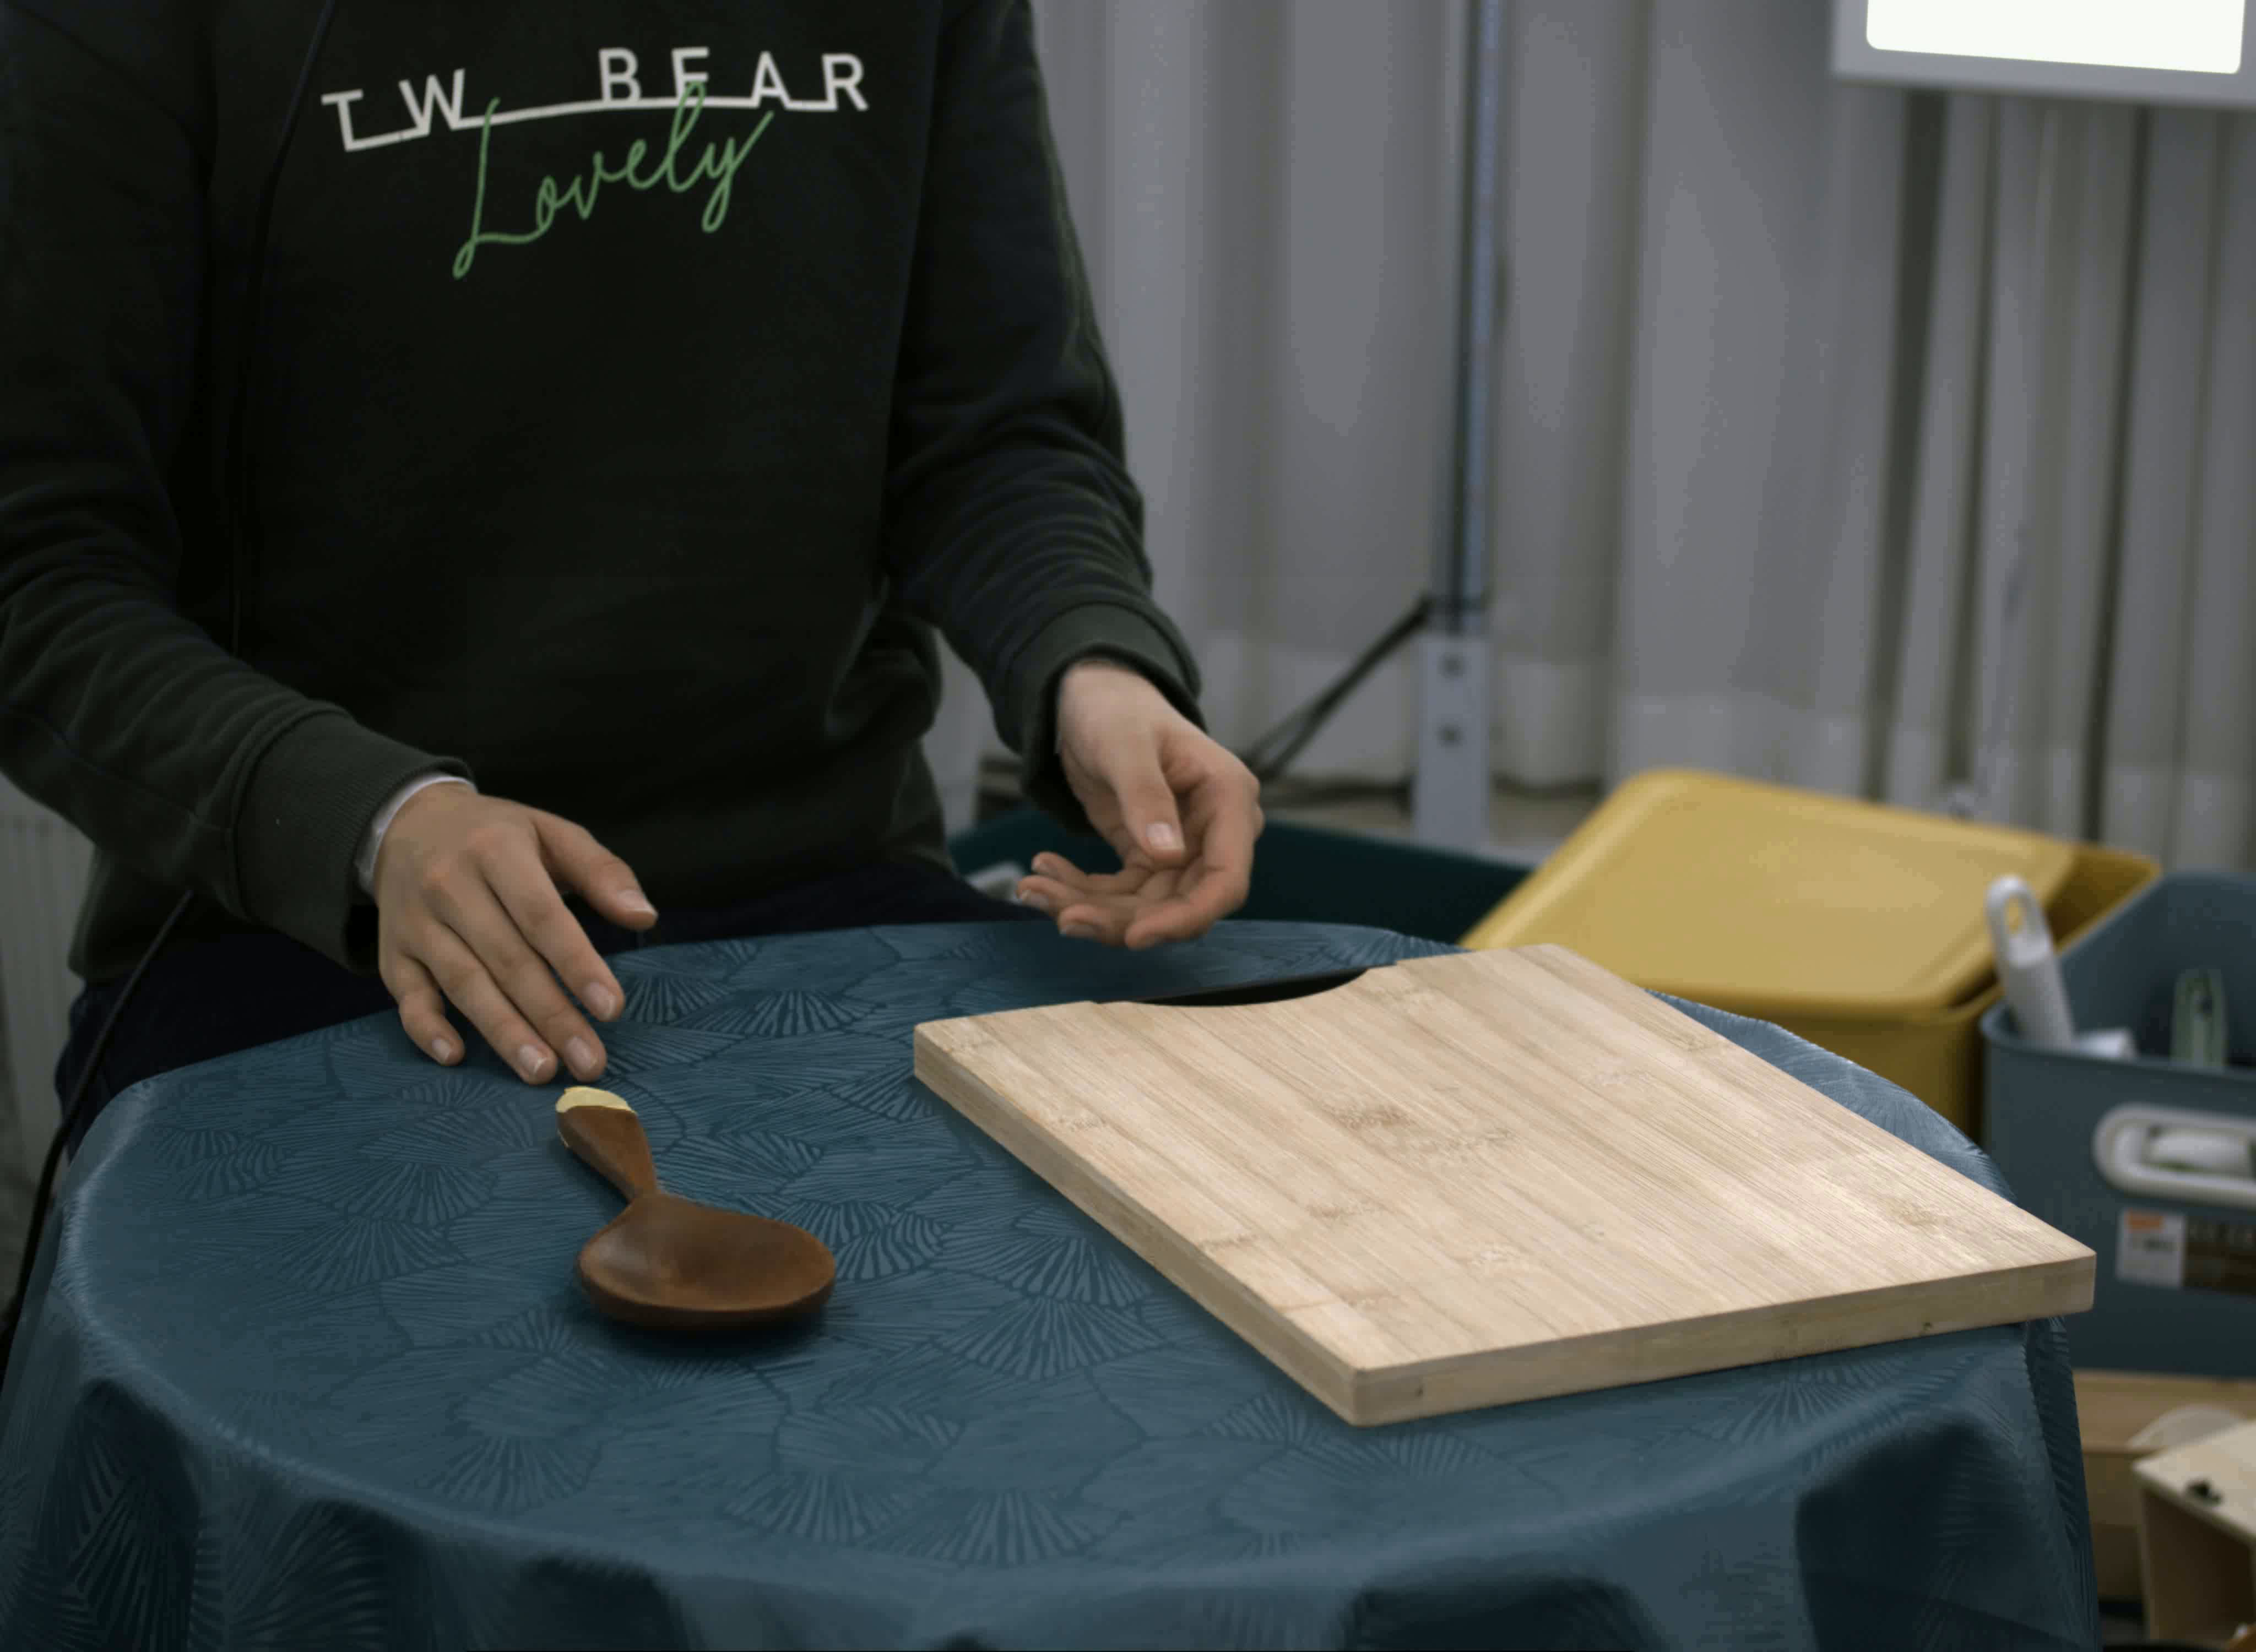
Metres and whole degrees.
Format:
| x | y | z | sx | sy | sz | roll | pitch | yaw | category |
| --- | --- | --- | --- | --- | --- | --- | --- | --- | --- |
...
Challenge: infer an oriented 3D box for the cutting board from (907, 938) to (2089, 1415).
| x | y | z | sx | sy | sz | roll | pitch | yaw | category |
| --- | --- | --- | --- | --- | --- | --- | --- | --- | --- |
| 0.103 | 0.102 | 1.639 | 0.251 | 0.024 | 0.344 | -6 | 17 | -24 | cutting board |

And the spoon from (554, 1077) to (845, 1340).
| x | y | z | sx | sy | sz | roll | pitch | yaw | category |
| --- | --- | --- | --- | --- | --- | --- | --- | --- | --- |
| -0.139 | 0.115 | 1.579 | 0.075 | 0.017 | 0.213 | -6 | 18 | -17 | spoon |
